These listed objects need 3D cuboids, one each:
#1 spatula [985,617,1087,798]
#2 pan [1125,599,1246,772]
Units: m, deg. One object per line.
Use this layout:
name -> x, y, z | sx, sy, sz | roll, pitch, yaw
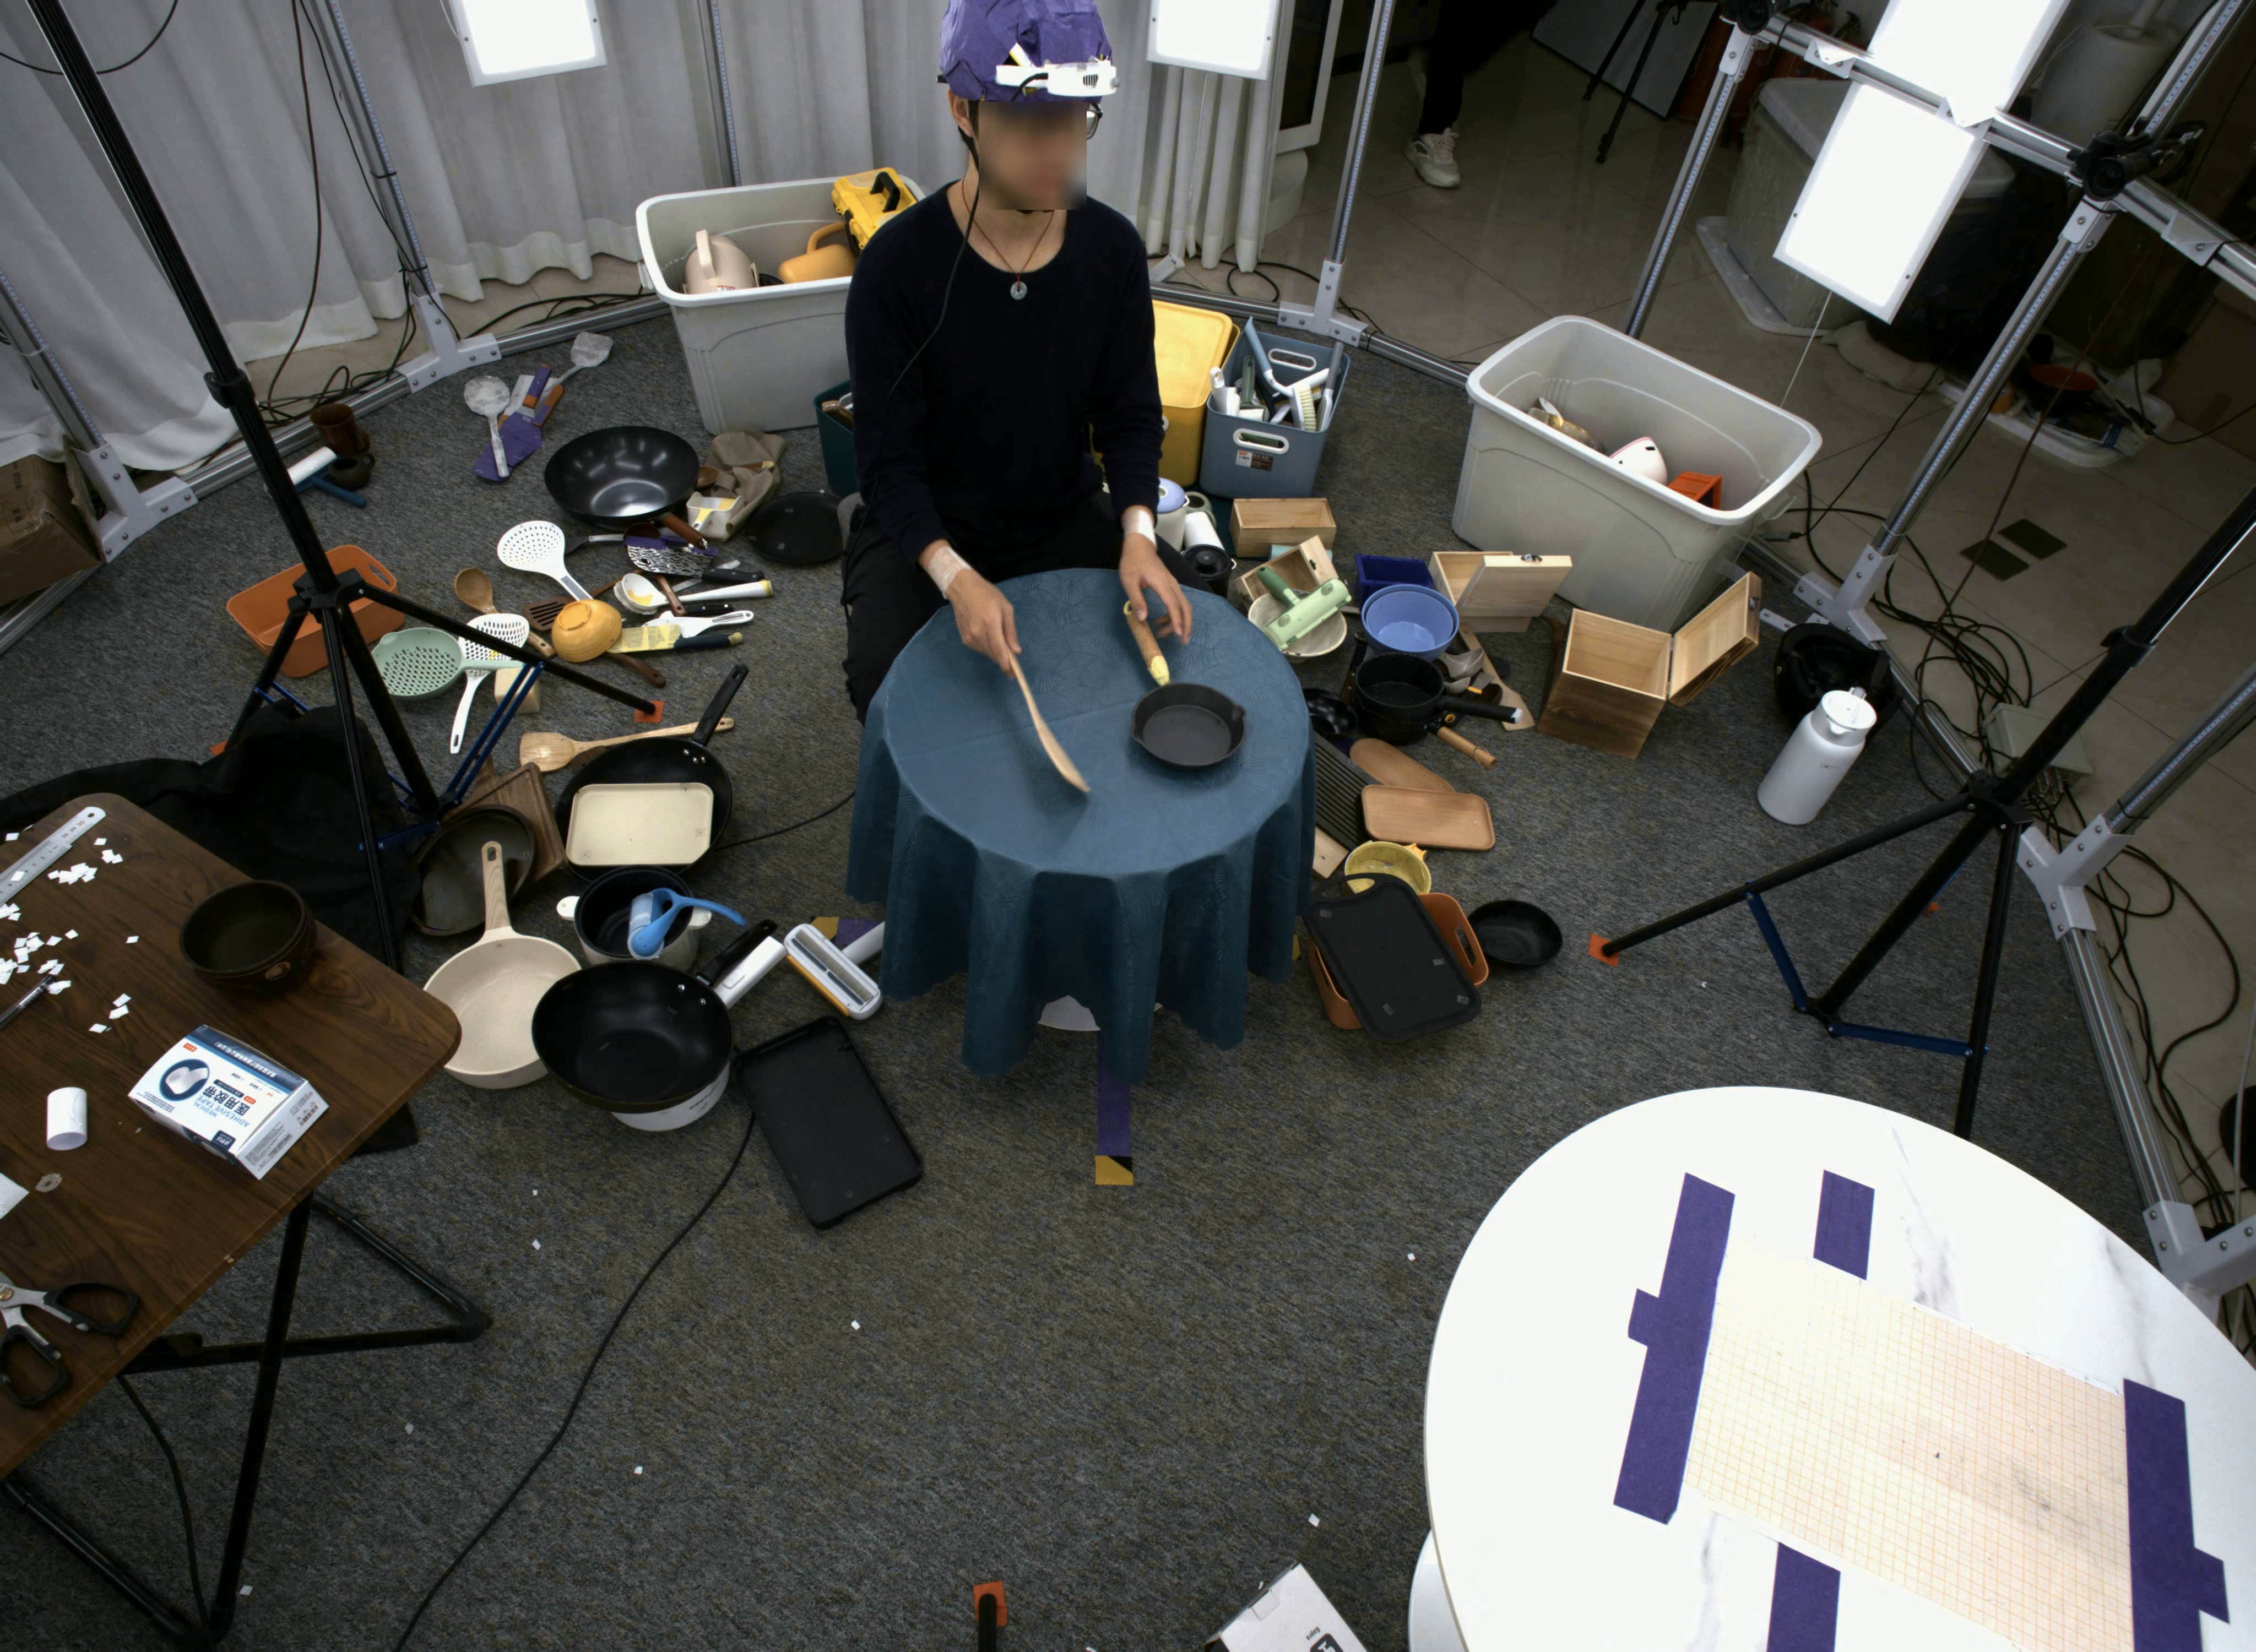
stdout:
spatula -> -0.130, -0.165, 1.738 | 0.016, 0.078, 0.335 | -32, 59, 10
pan -> 0.057, -0.201, 1.814 | 0.169, 0.048, 0.332 | -12, 52, -14
